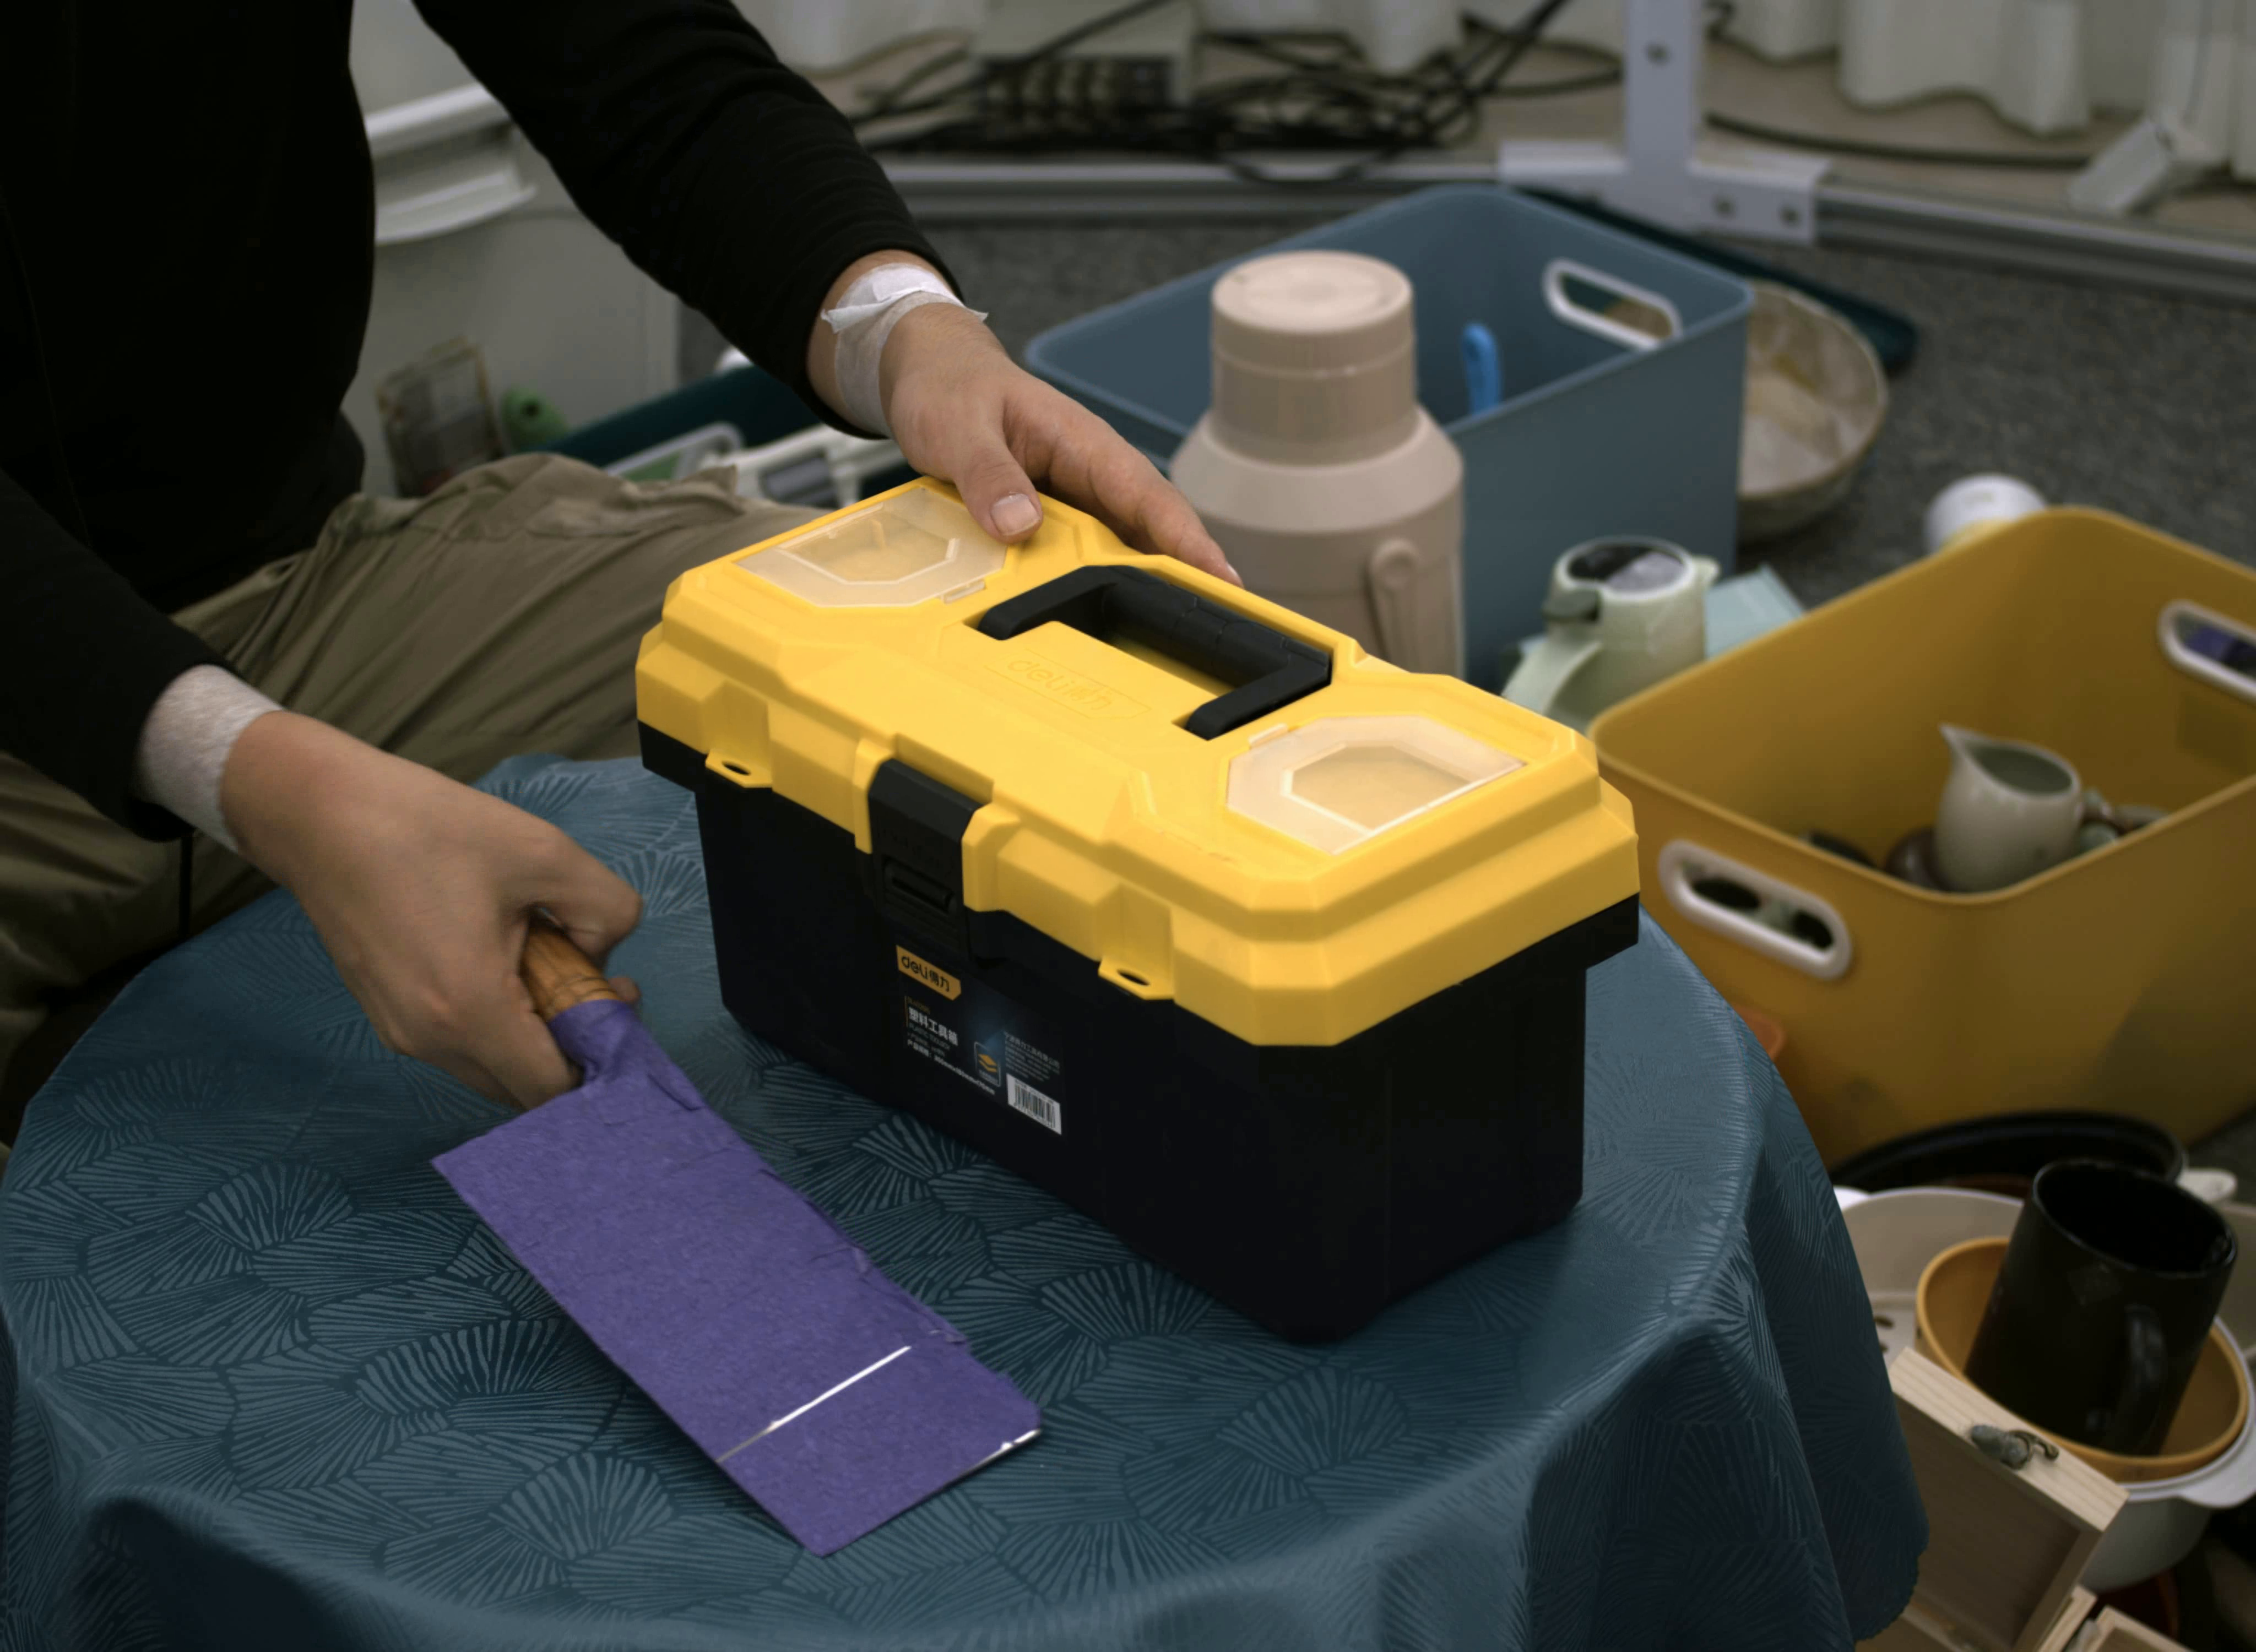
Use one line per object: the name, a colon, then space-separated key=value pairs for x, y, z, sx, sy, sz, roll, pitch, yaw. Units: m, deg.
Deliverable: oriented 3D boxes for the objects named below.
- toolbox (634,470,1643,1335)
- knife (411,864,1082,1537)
toolbox: x=-0.001 y=0.020 z=1.871 sx=0.183 sy=0.171 sz=0.351 roll=-22 pitch=32 yaw=-35
knife: x=-0.152 y=0.115 z=1.789 sx=0.105 sy=0.032 sz=0.316 roll=-25 pitch=47 yaw=-34
